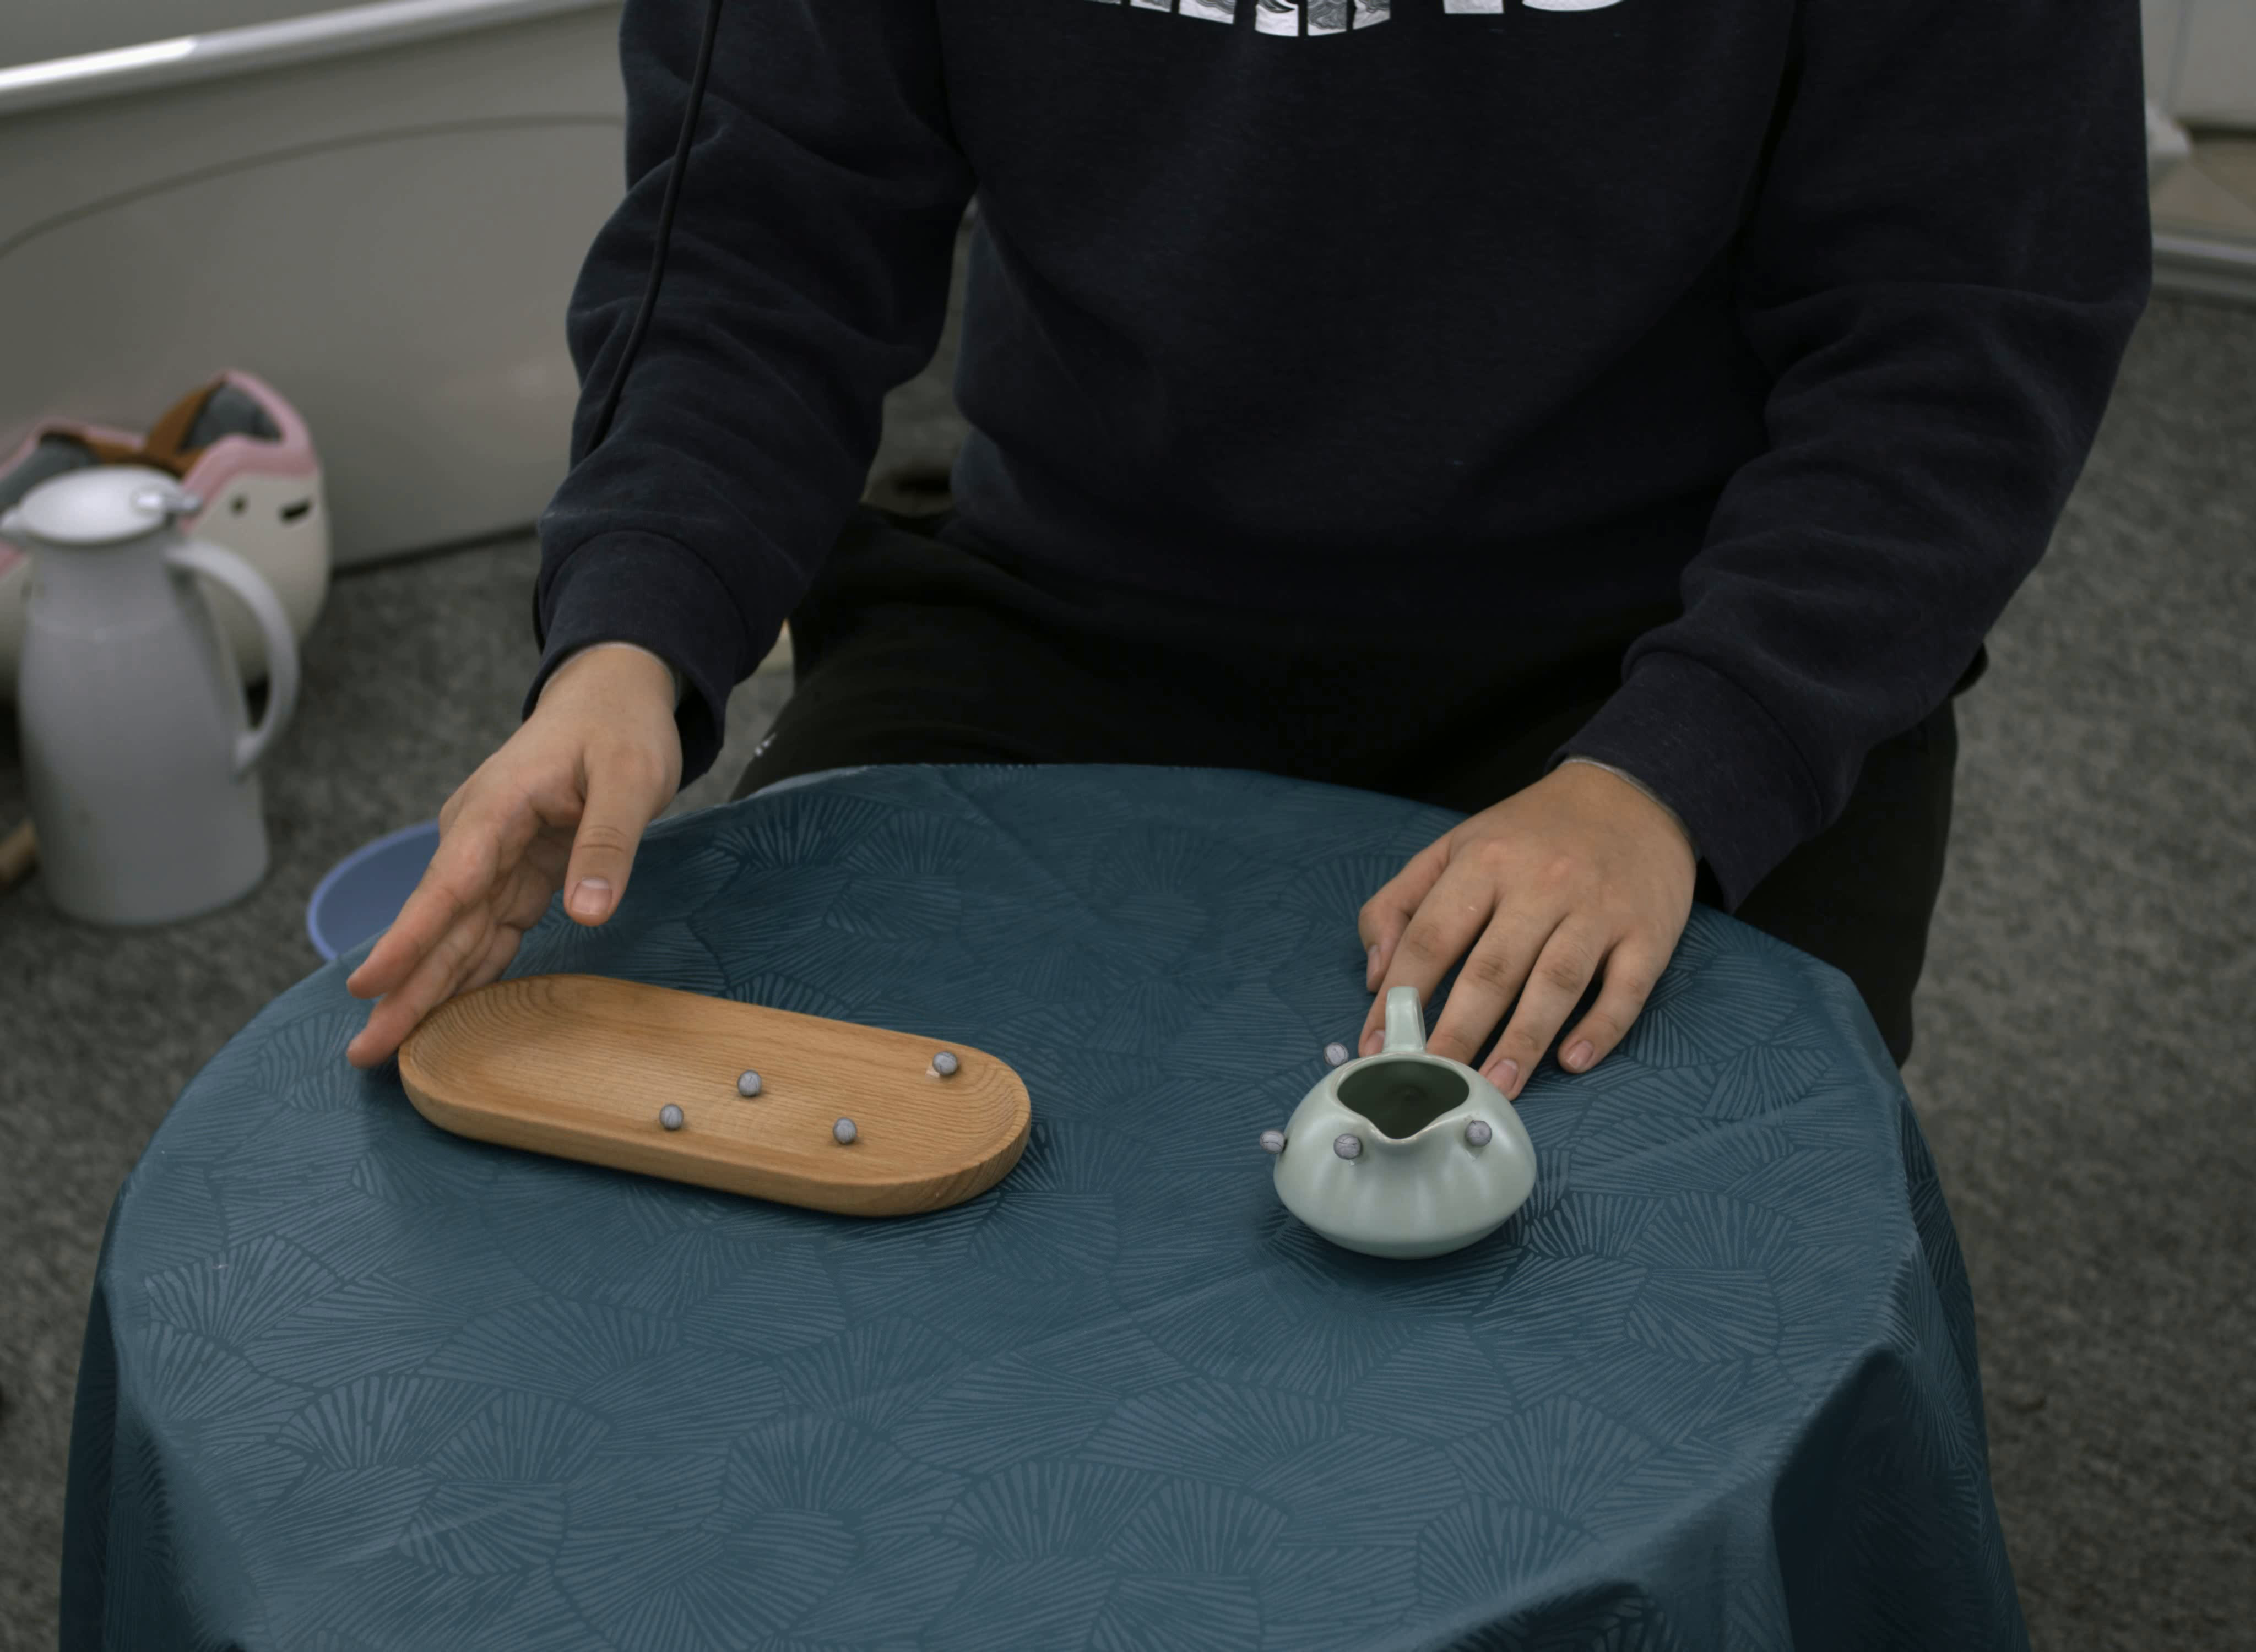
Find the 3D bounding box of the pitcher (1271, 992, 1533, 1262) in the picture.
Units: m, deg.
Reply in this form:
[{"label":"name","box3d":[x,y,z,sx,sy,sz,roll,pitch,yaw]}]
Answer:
[{"label":"pitcher","box3d":[0.089,0.100,1.839,0.085,0.060,0.109,-1,25,2]}]

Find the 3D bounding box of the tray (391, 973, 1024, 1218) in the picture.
[{"label":"tray","box3d":[-0.144,0.092,1.917,0.229,0.020,0.103,7,29,23]}]
